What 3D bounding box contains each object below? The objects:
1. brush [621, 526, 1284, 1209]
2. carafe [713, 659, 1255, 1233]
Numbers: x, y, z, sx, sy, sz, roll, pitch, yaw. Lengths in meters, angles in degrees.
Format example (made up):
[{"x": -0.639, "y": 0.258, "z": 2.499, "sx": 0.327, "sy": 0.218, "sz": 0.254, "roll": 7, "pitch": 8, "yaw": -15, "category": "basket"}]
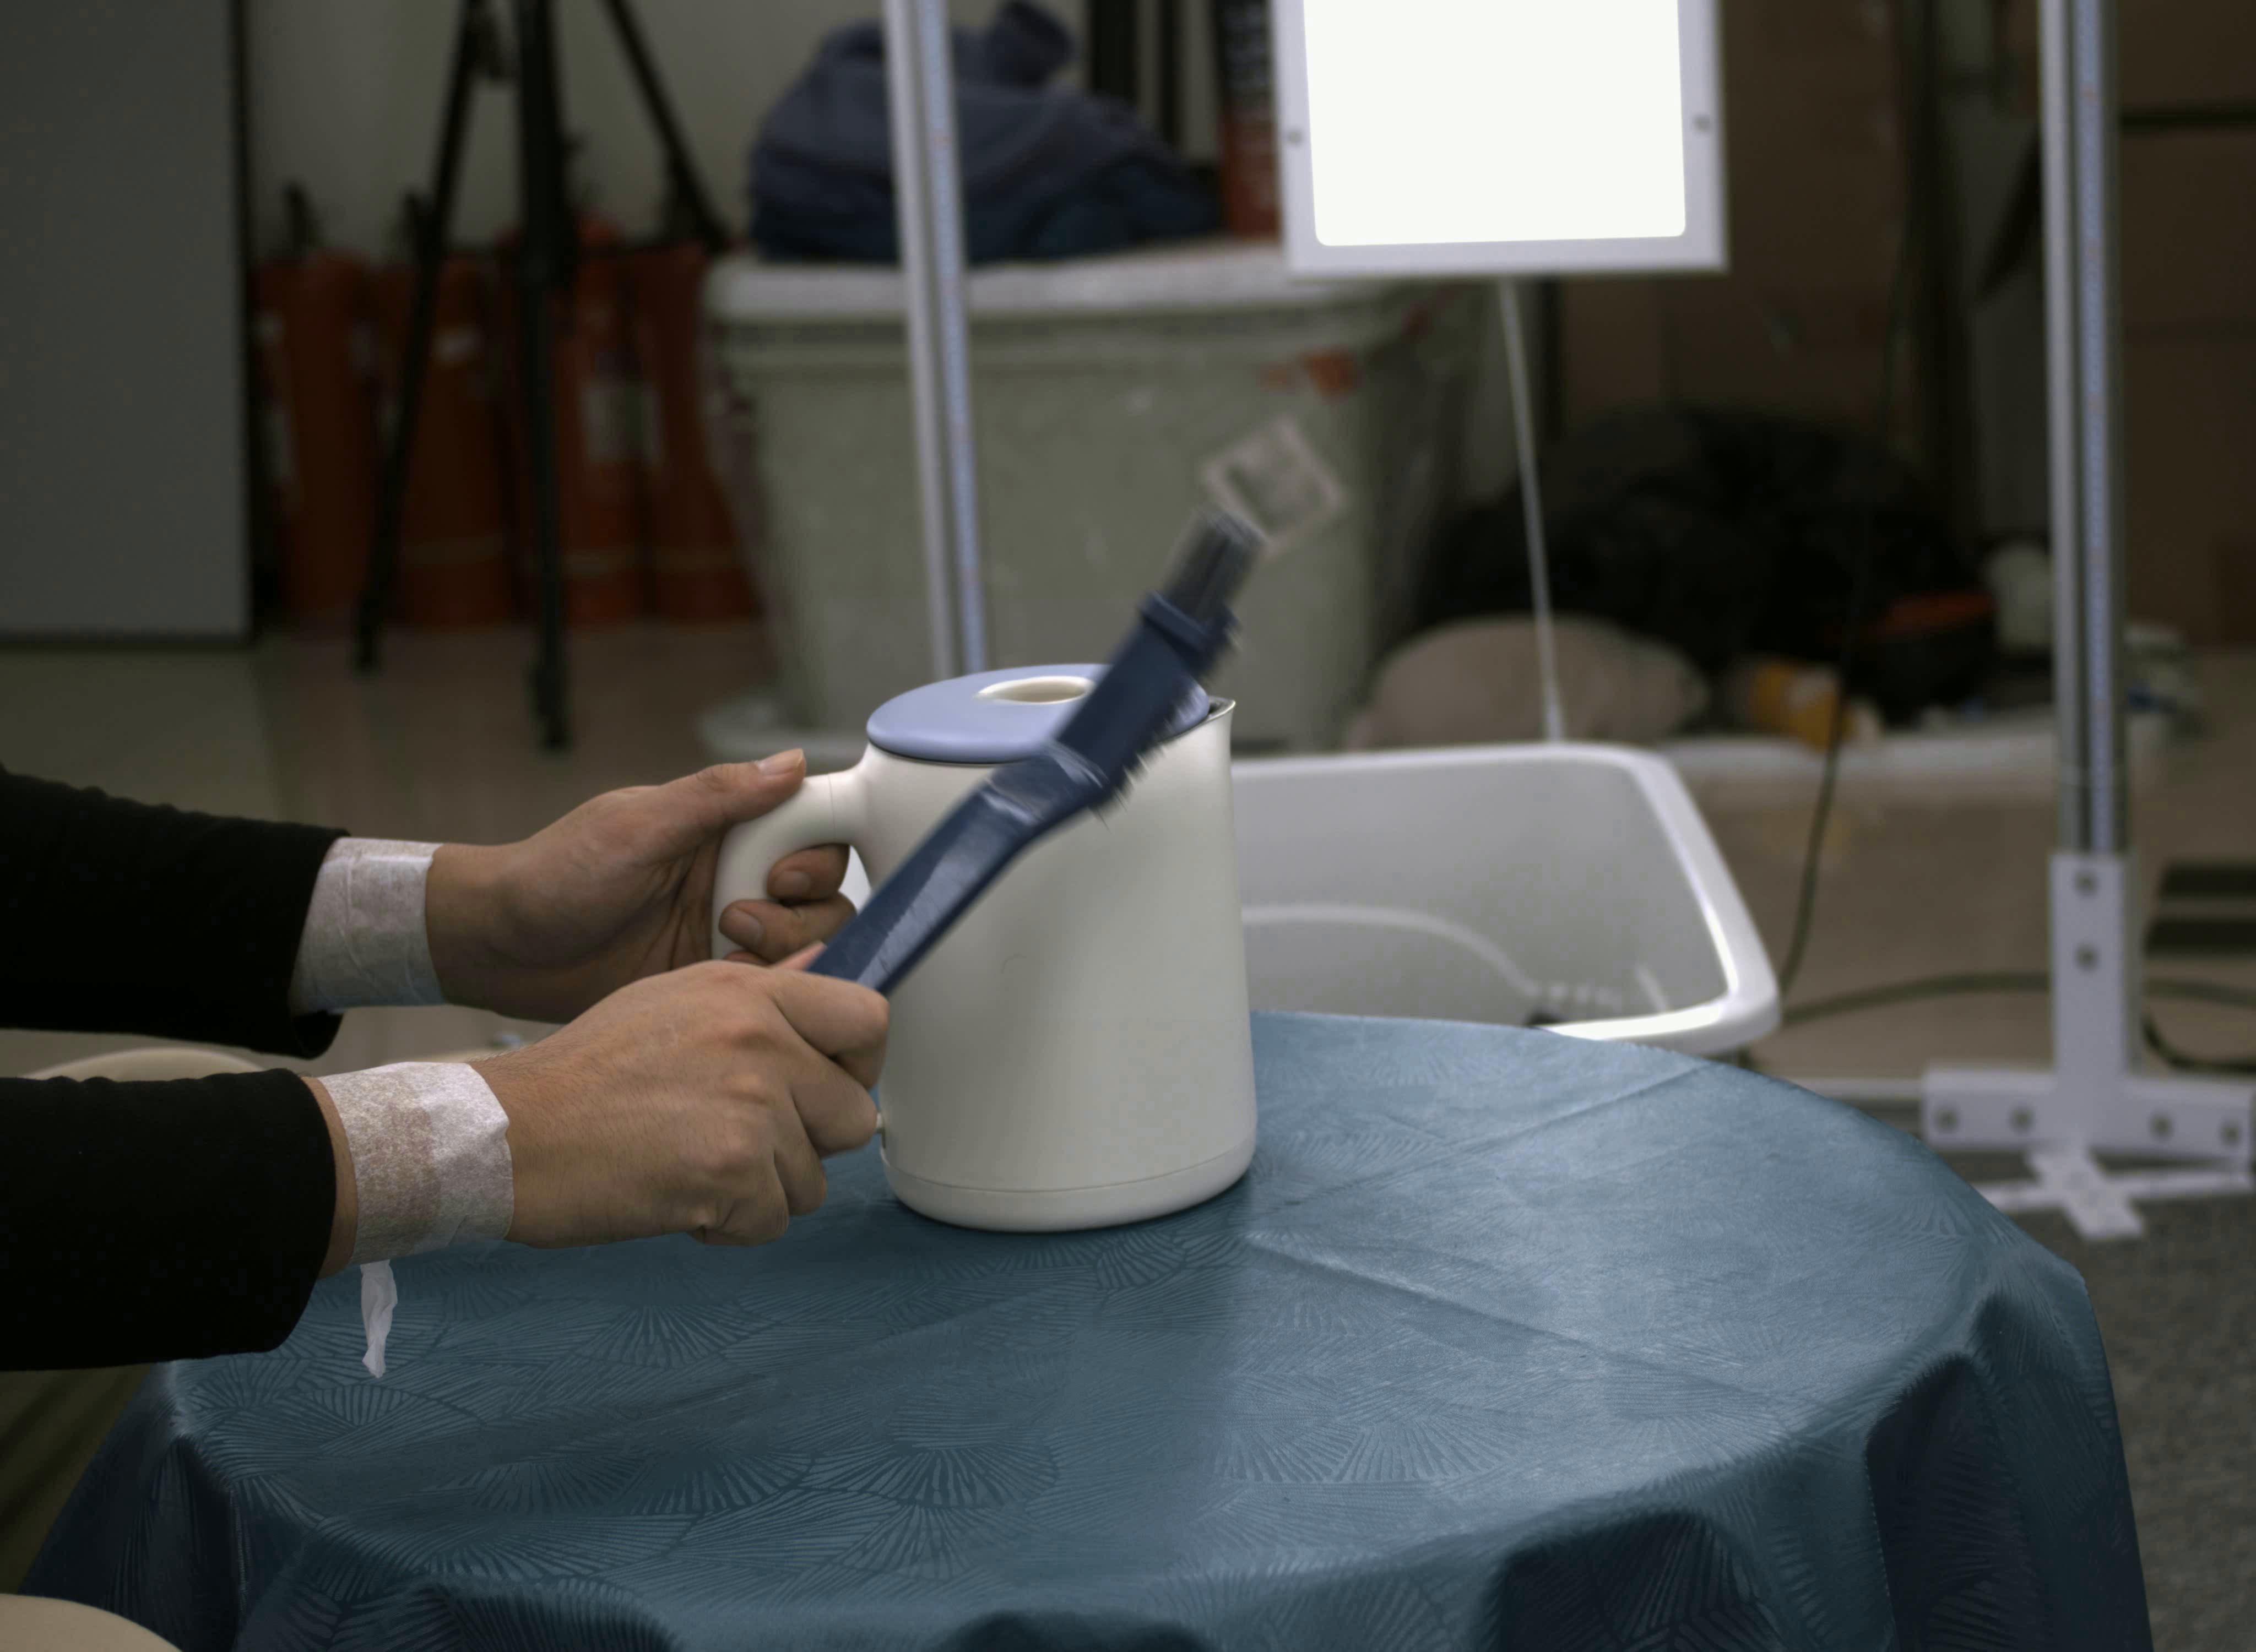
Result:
[{"x": -0.053, "y": 0.012, "z": 1.727, "sx": 0.034, "sy": 0.096, "sz": 0.268, "roll": 39, "pitch": 63, "yaw": 18, "category": "brush"}, {"x": -0.049, "y": 0.043, "z": 1.895, "sx": 0.189, "sy": 0.183, "sz": 0.133, "roll": -7, "pitch": 14, "yaw": -6, "category": "carafe"}]
